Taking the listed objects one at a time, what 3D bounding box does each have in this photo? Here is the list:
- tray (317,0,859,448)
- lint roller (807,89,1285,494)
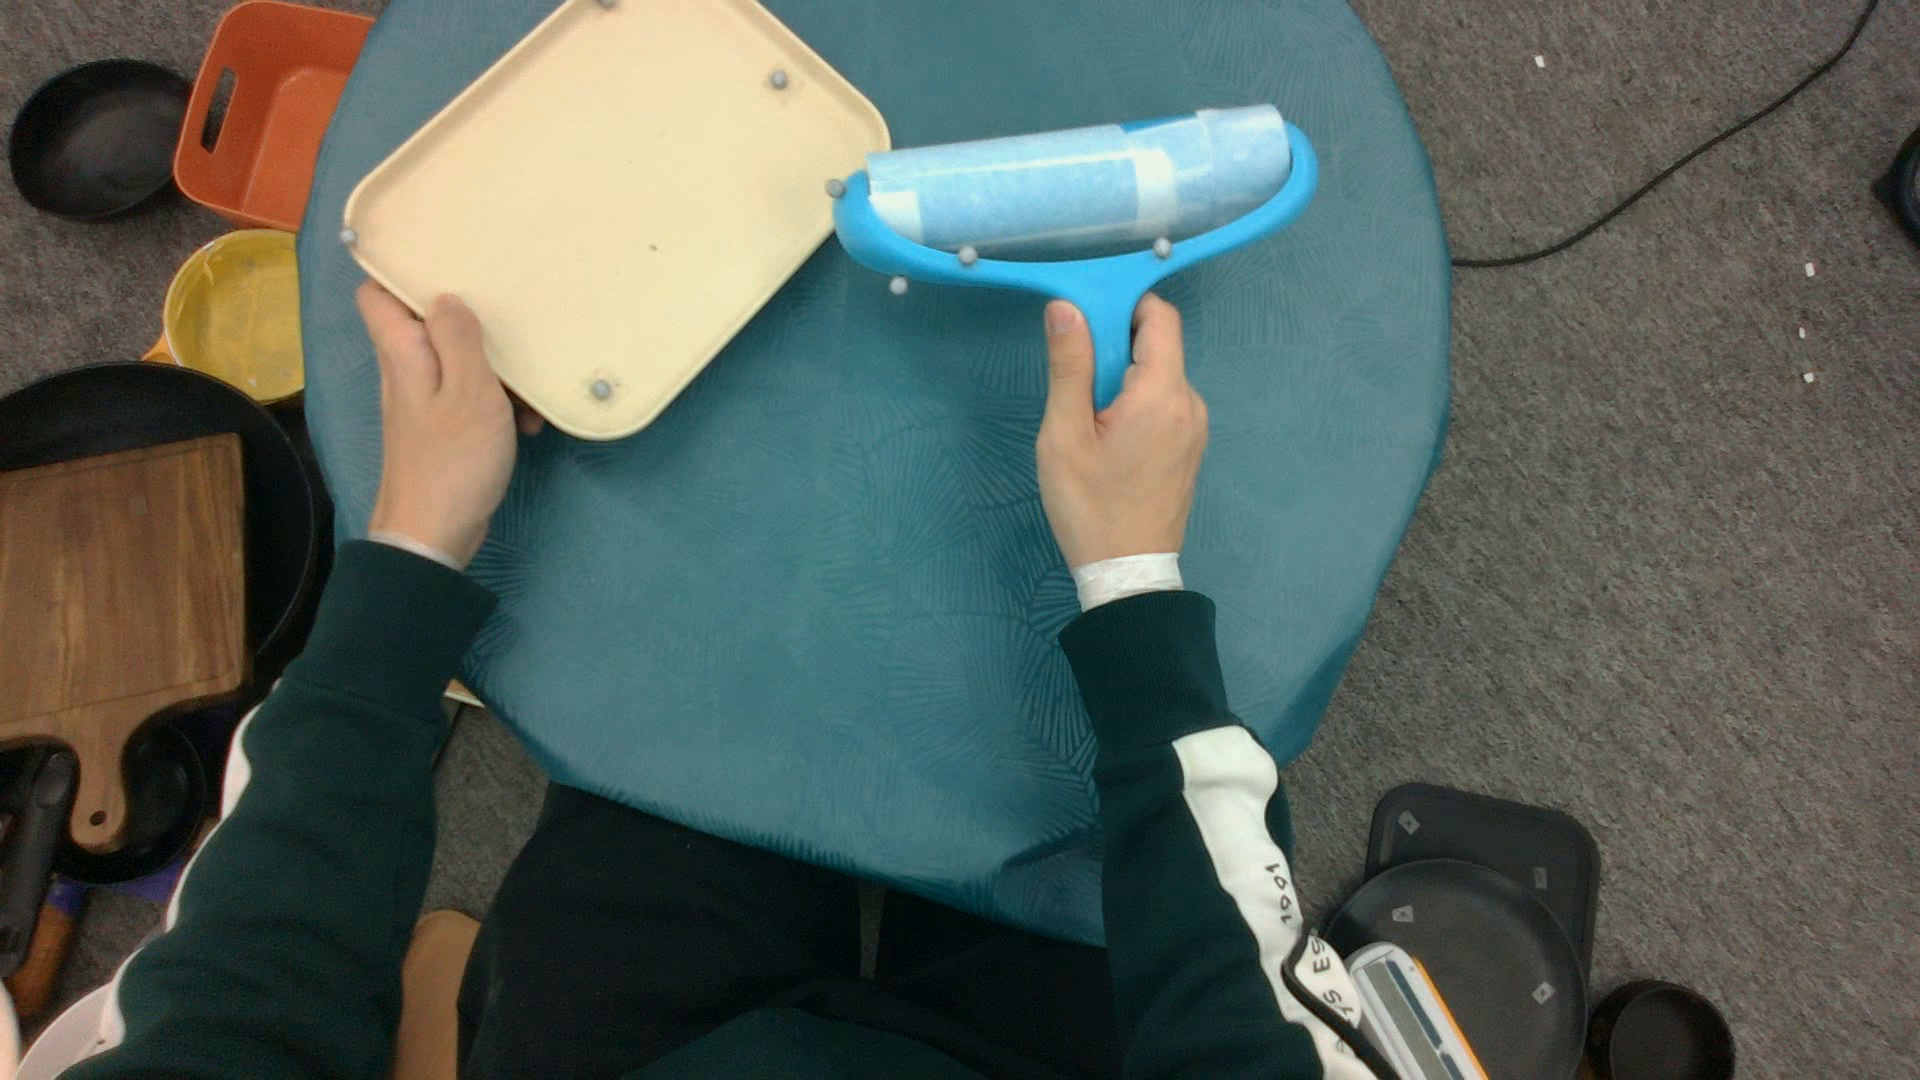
[{"bbox_3d":[-0.174,-0.171,0.678,0.171,0.017,0.240,39,69,-5],"label":"tray"},{"bbox_3d":[0.055,-0.115,0.644,0.229,0.068,0.180,-12,82,-7],"label":"lint roller"}]
